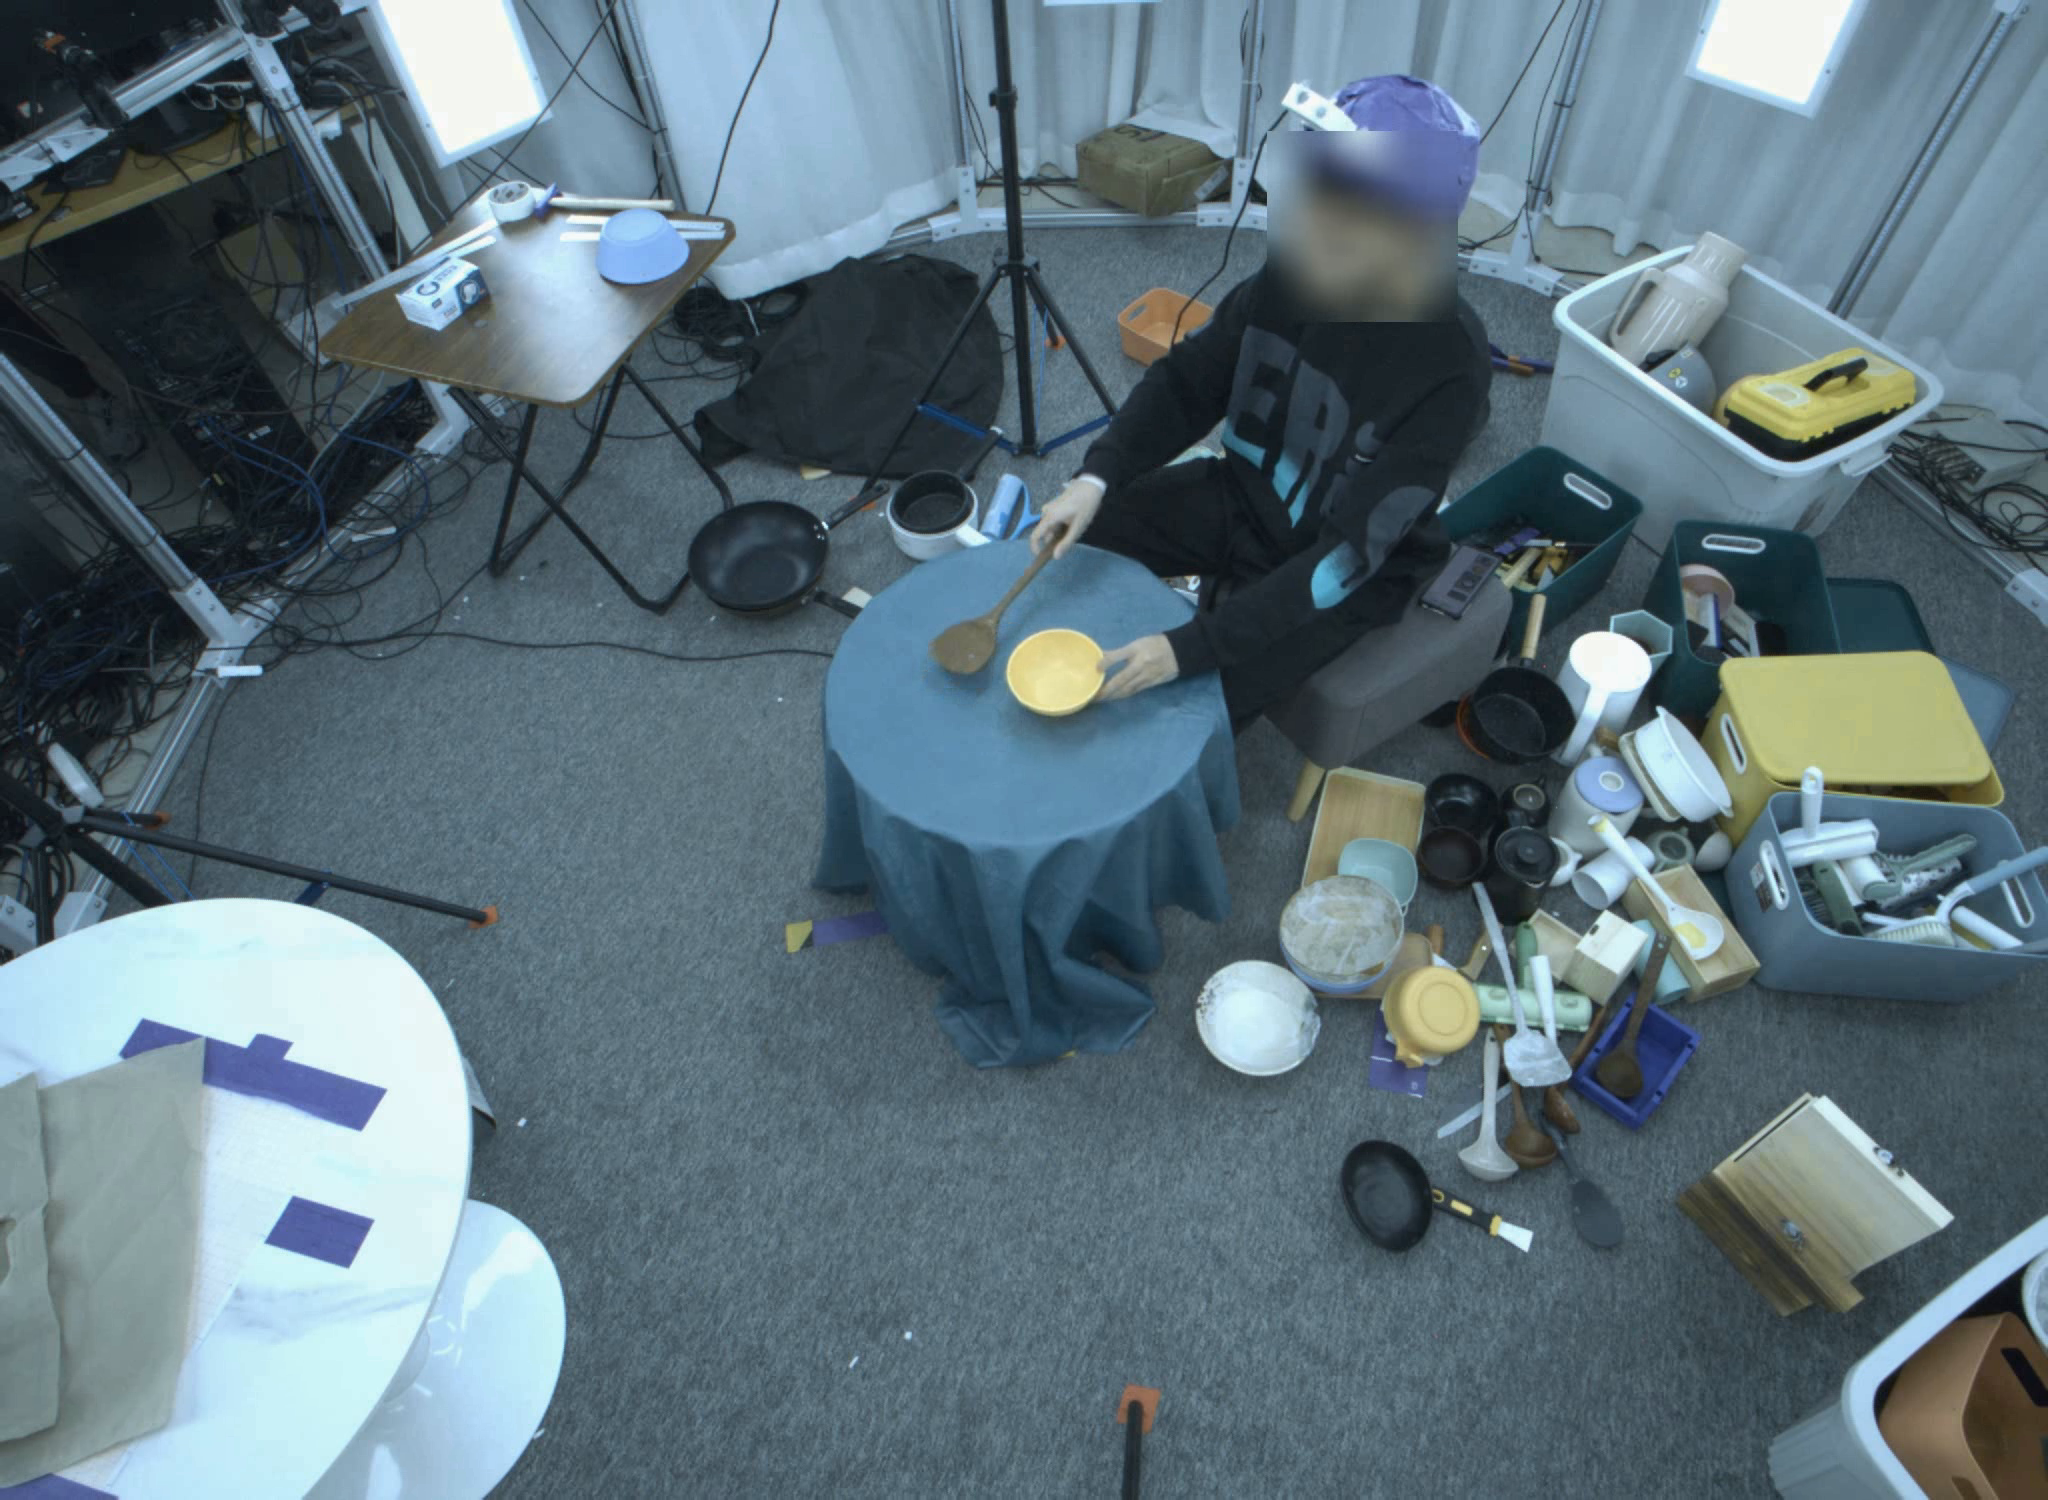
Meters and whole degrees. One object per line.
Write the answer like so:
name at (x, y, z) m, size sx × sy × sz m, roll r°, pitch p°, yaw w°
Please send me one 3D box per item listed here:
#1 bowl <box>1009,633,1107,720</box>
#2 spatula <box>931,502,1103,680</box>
bowl at (0.051, -0.098, 1.824) m, size 0.145 × 0.061 × 0.144 m, roll -1°, pitch 61°, yaw 2°
spatula at (0.003, -0.256, 1.902) m, size 0.094 × 0.016 × 0.387 m, roll 32°, pitch 71°, yaw 22°
